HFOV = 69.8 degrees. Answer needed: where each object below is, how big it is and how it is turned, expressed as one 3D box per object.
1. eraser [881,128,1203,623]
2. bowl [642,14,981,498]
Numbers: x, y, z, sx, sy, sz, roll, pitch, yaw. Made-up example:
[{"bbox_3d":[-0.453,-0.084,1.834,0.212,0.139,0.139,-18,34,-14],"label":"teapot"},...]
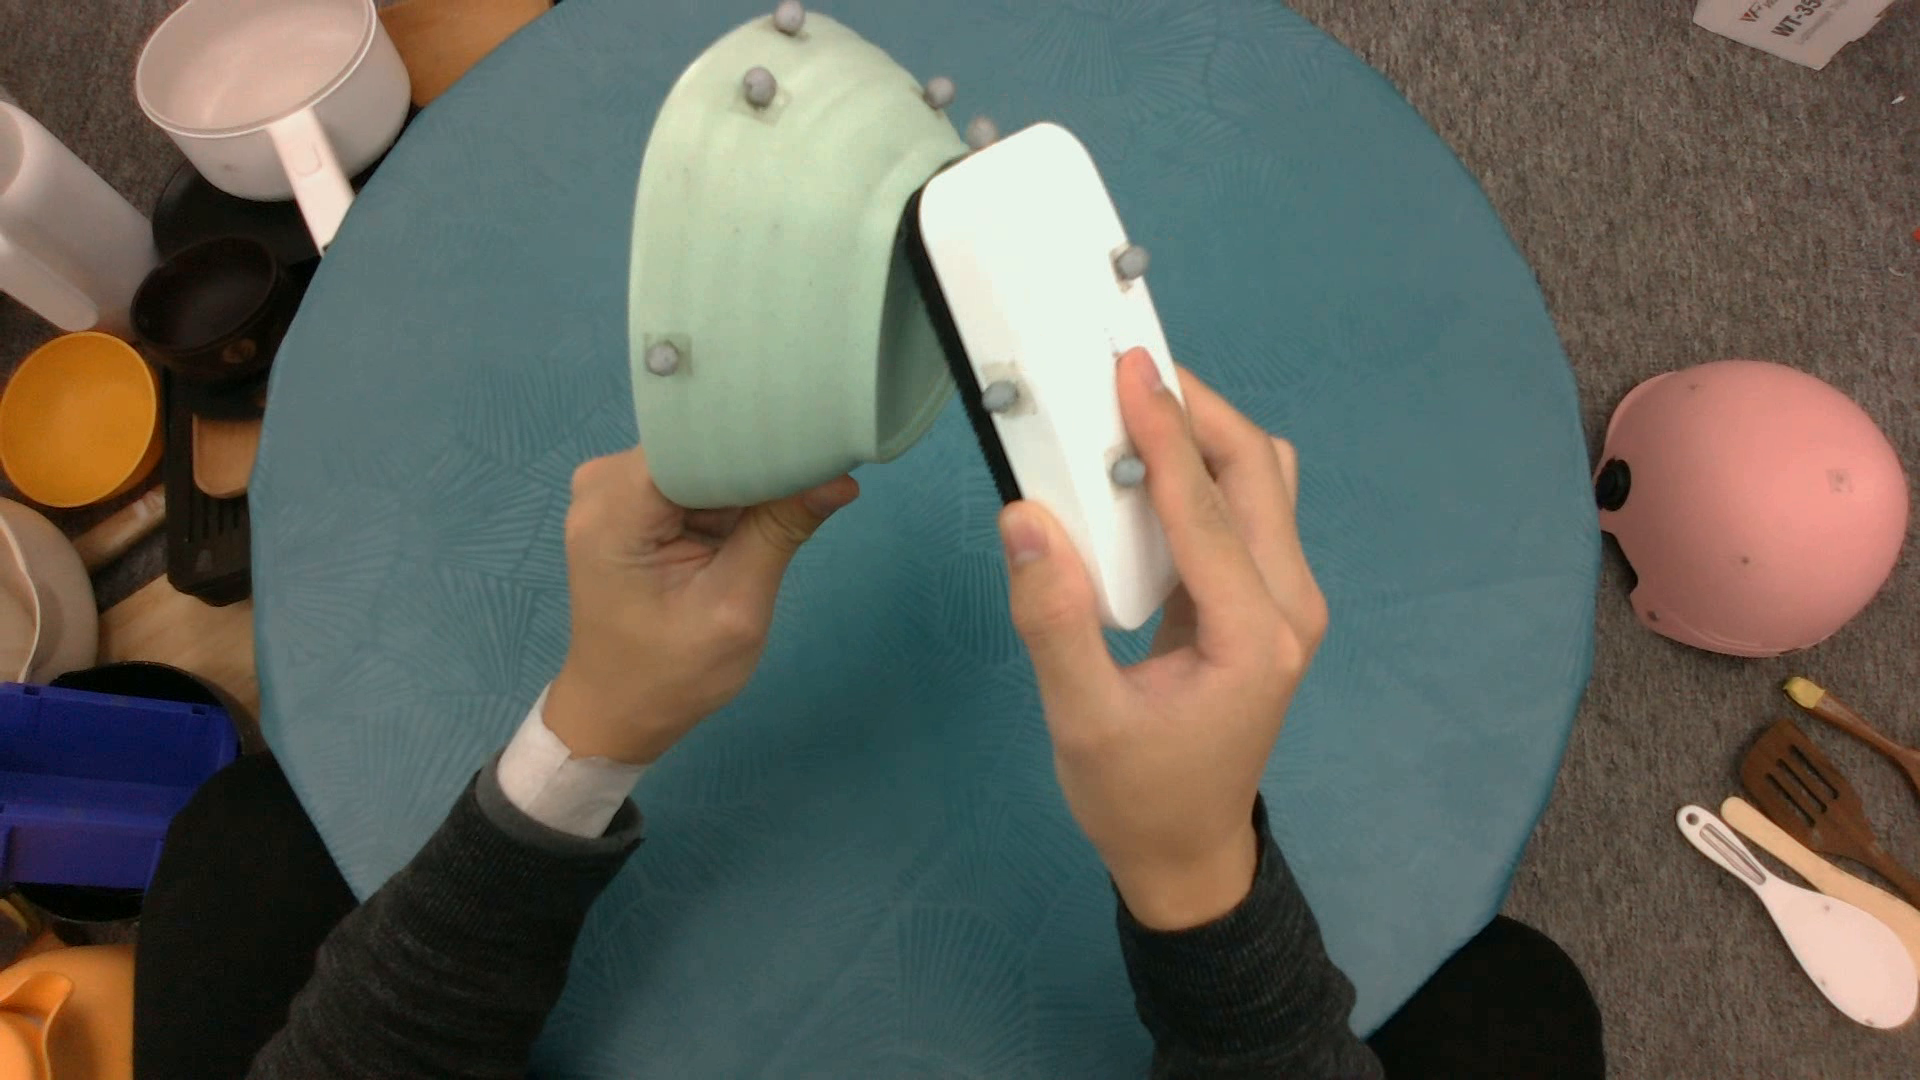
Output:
[{"bbox_3d":[0.026,-0.042,0.373,0.064,0.034,0.131,-40,113,-44],"label":"eraser"},{"bbox_3d":[-0.034,-0.077,0.406,0.058,0.151,0.152,17,74,12],"label":"bowl"}]
